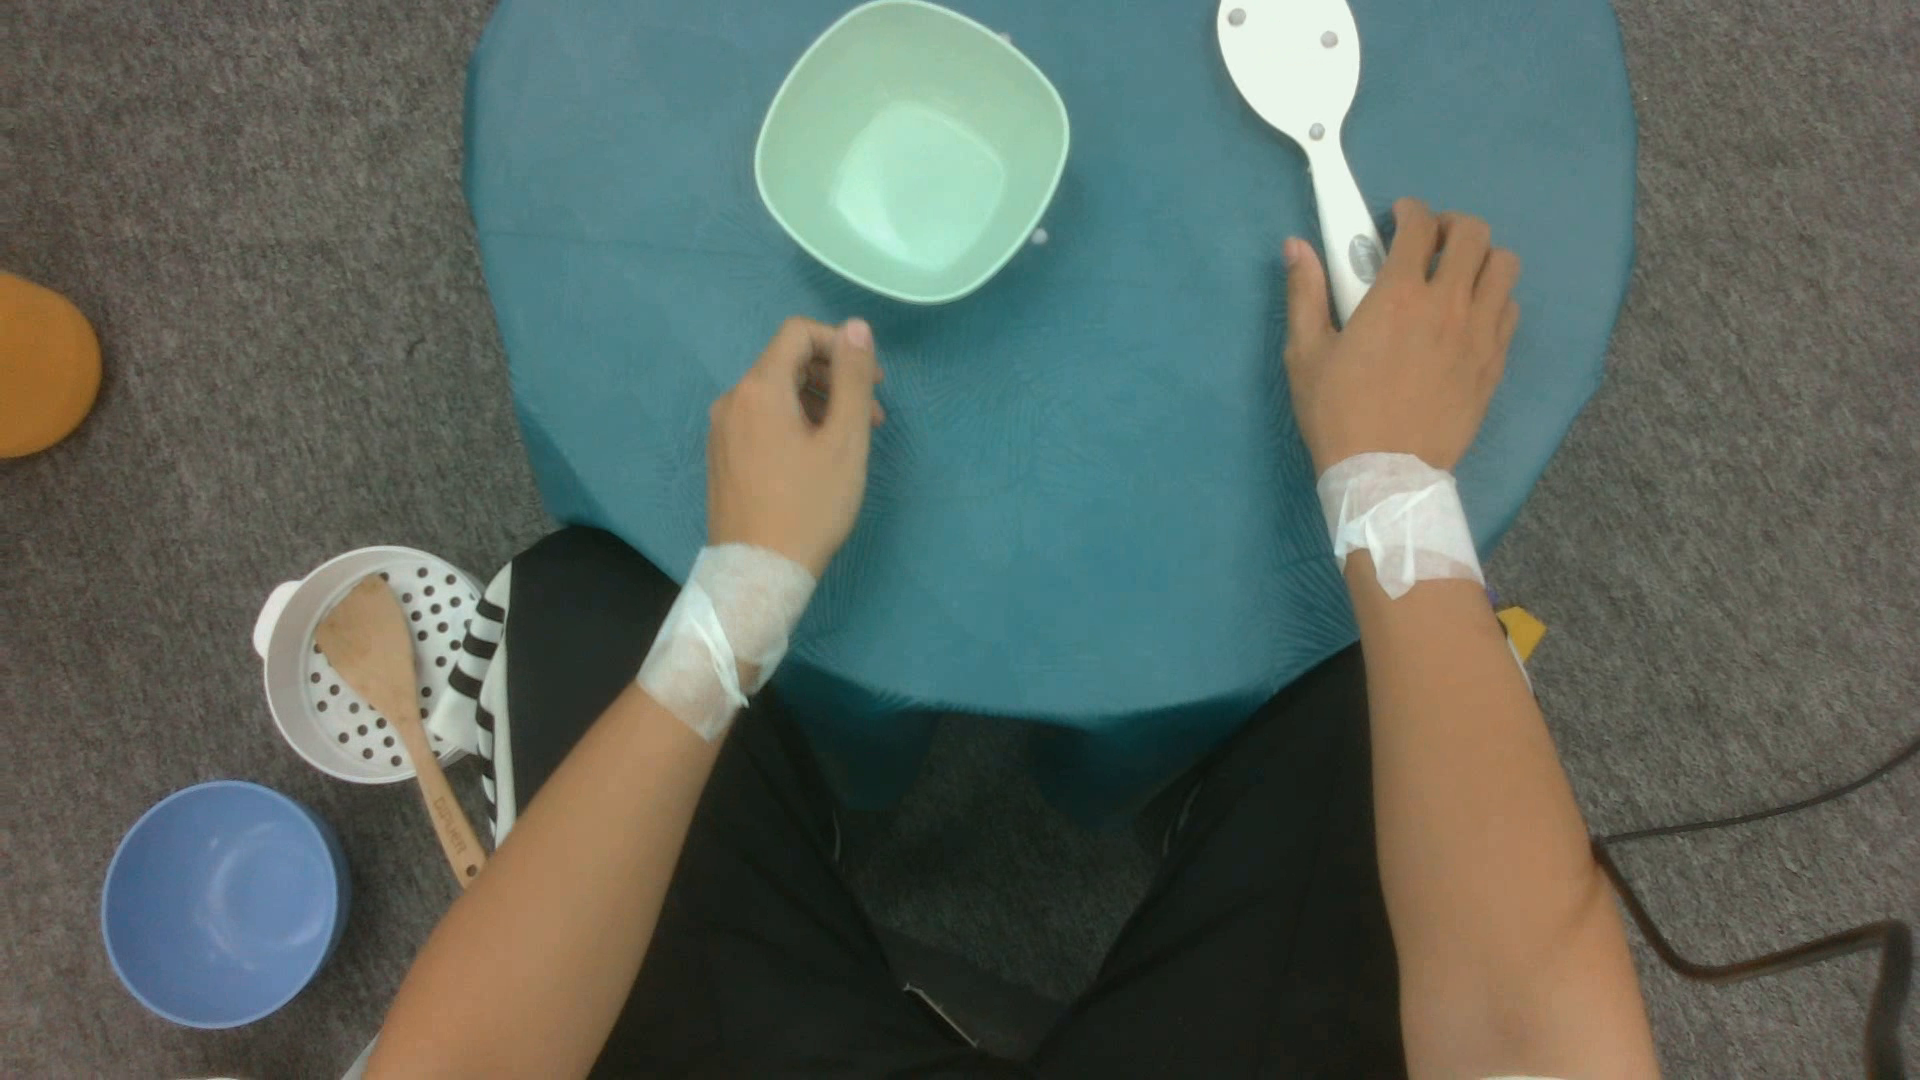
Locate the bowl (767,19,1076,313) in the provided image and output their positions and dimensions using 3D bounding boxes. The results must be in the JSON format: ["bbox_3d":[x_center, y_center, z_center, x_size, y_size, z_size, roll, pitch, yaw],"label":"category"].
[{"bbox_3d":[-0.019,-0.179,0.695,0.151,0.058,0.151,0,81,-2],"label":"bowl"}]

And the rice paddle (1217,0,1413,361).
[{"bbox_3d":[0.185,-0.193,0.706,0.069,0.029,0.205,-15,82,-2],"label":"rice paddle"}]
